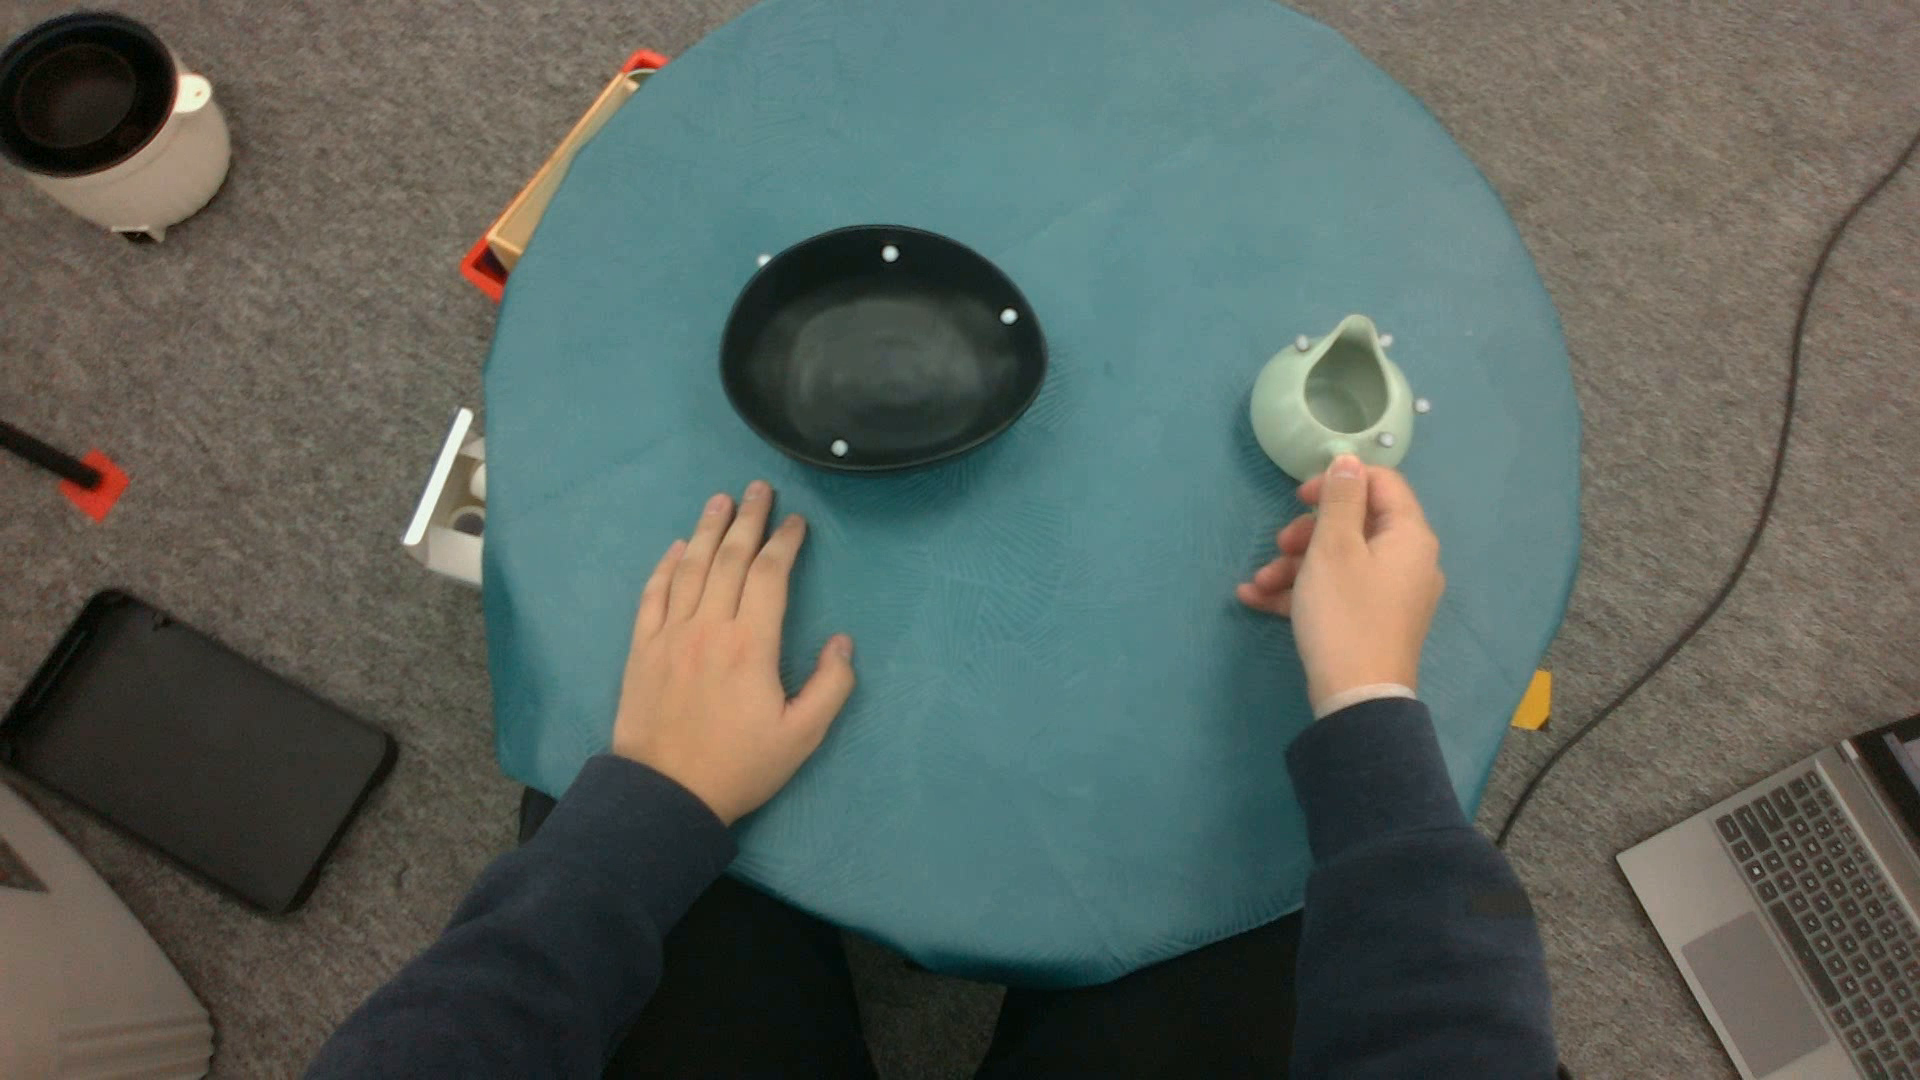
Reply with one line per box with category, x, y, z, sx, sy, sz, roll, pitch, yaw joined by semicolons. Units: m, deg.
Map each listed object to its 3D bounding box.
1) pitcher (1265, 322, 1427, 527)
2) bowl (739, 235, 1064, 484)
pitcher;0.207;-0.057;0.735;0.086;0.060;0.108;9;76;4
bowl;-0.030;-0.089;0.742;0.170;0.066;0.137;-4;74;-2
